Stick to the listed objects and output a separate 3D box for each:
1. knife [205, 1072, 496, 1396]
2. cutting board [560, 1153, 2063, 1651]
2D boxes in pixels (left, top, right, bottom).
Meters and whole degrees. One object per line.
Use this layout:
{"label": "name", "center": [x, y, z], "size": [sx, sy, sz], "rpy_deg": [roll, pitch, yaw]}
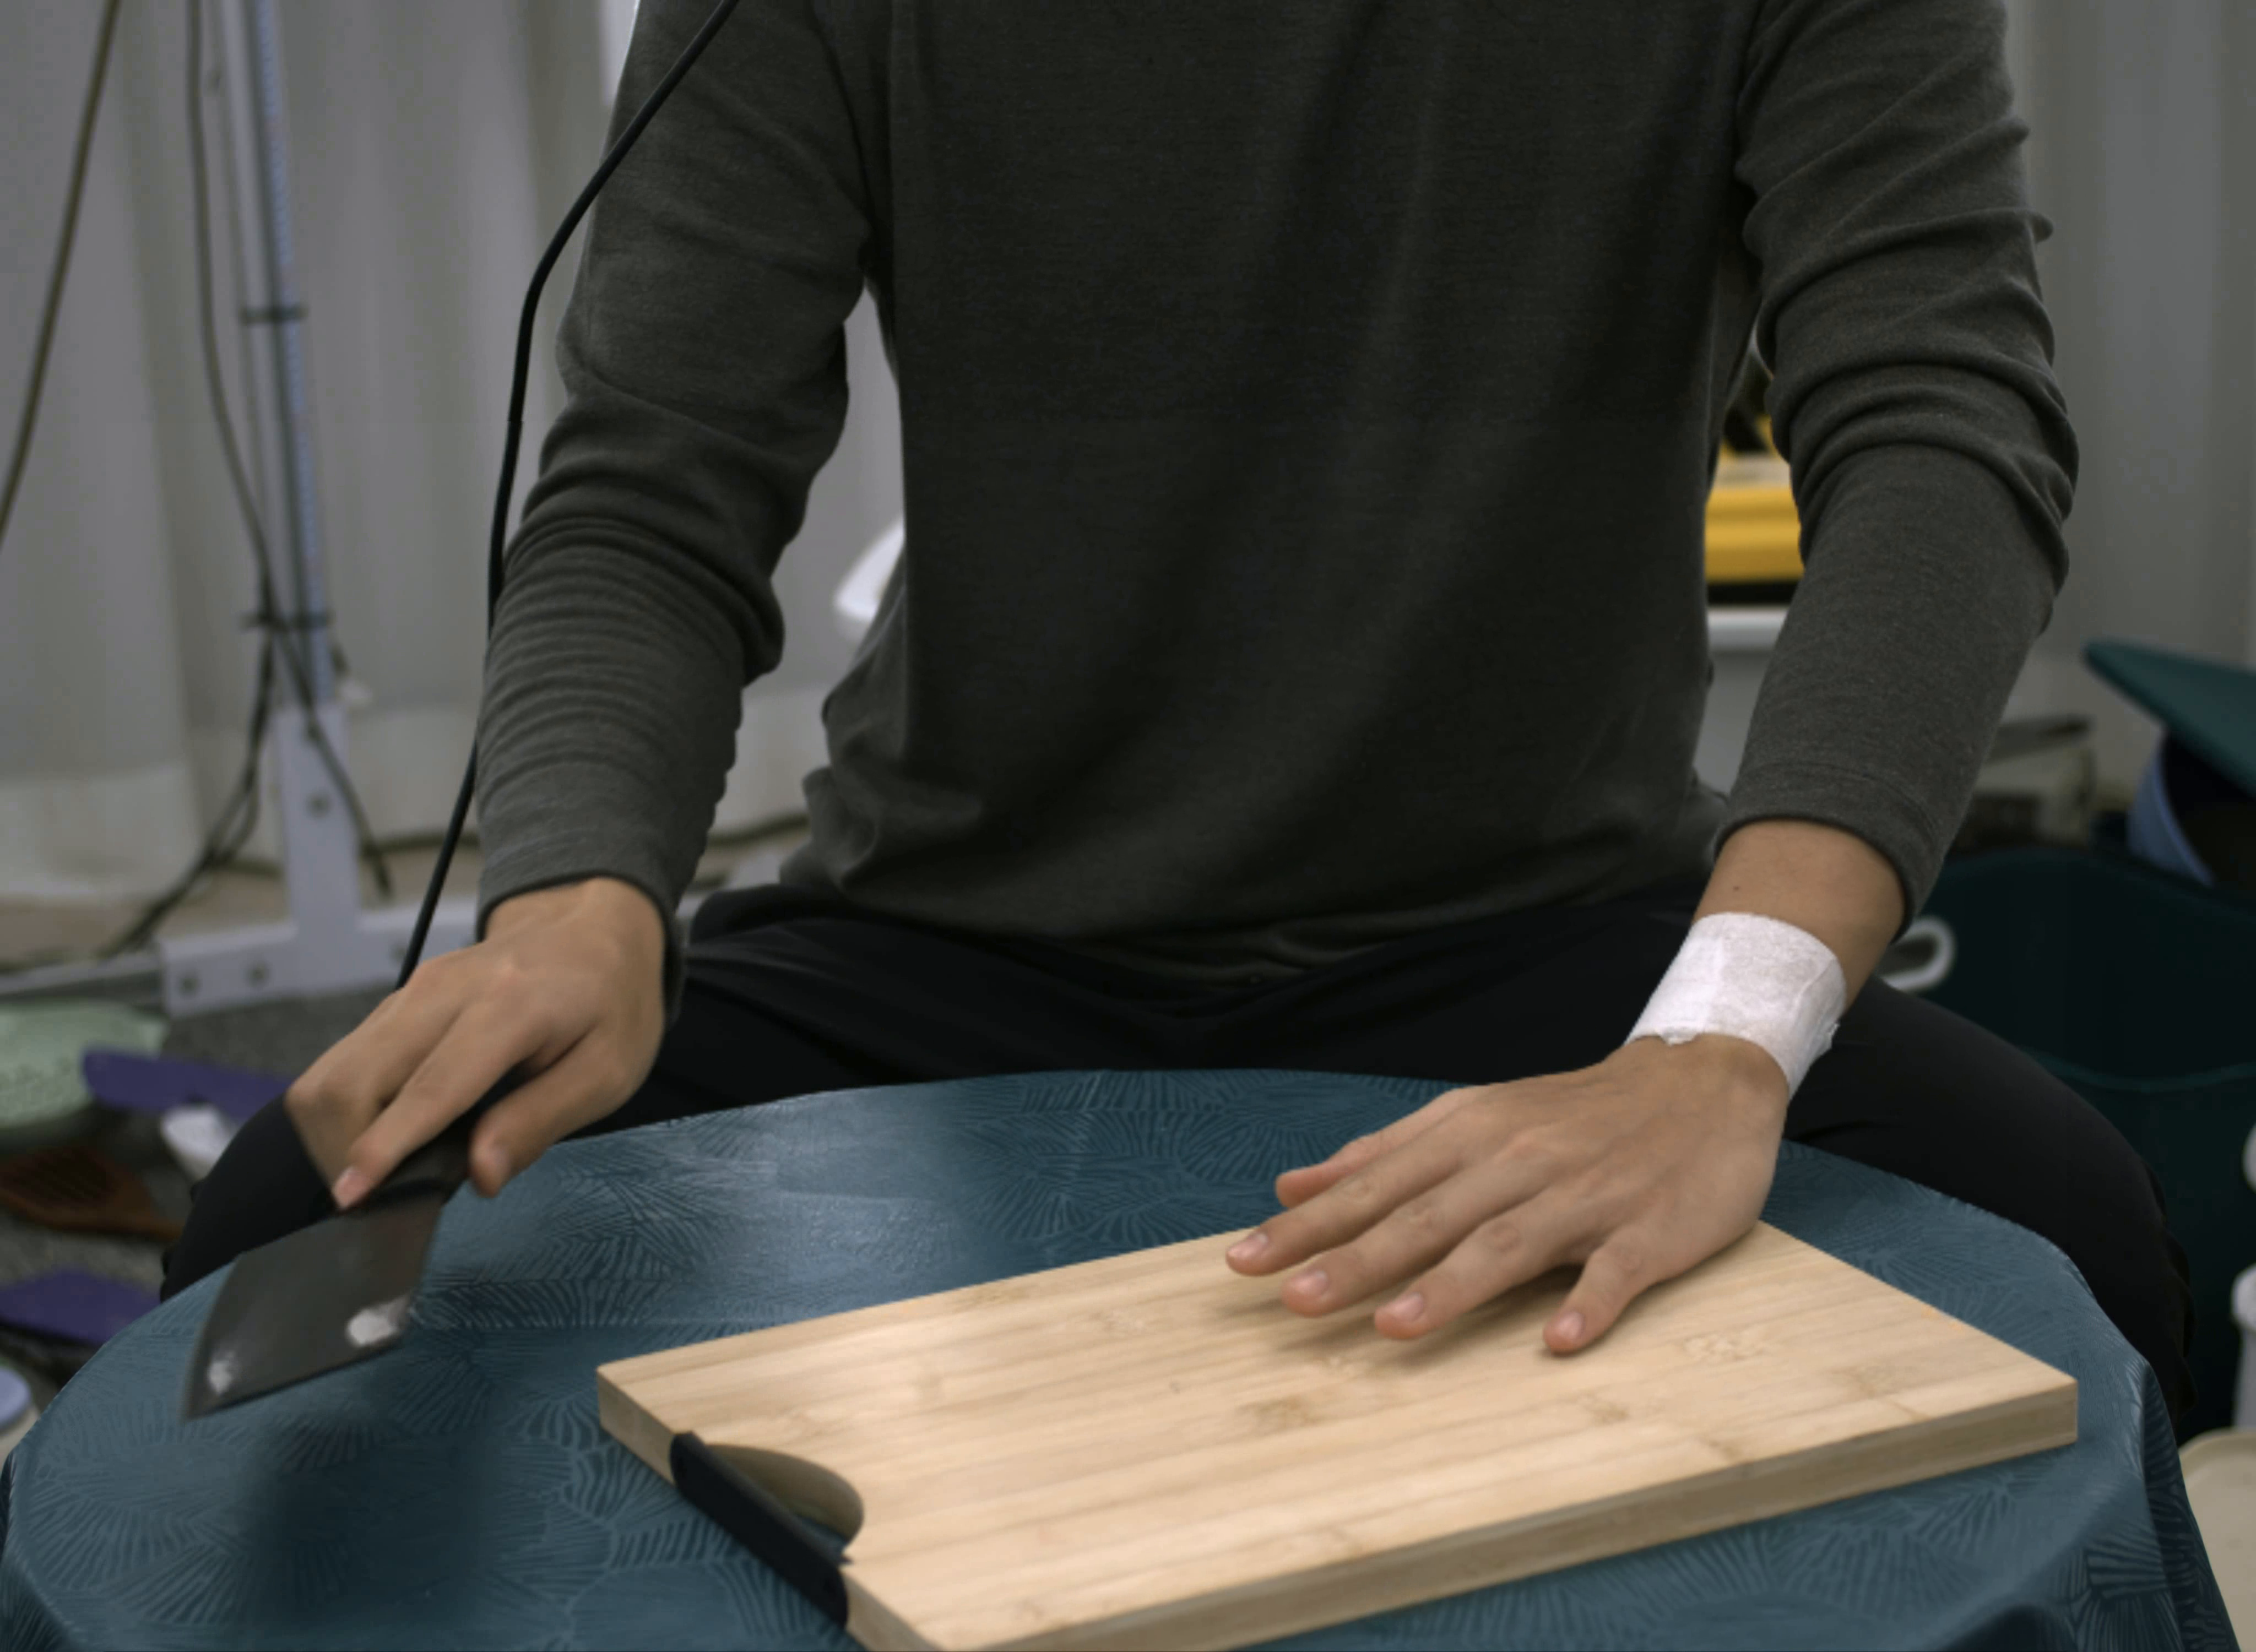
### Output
{"label": "knife", "center": [-0.214, 0.113, 1.540], "size": [0.081, 0.021, 0.303], "rpy_deg": [-18, 10, 4]}
{"label": "cutting board", "center": [0.049, 0.161, 1.504], "size": [0.347, 0.023, 0.252], "rpy_deg": [-10, 16, -26]}
